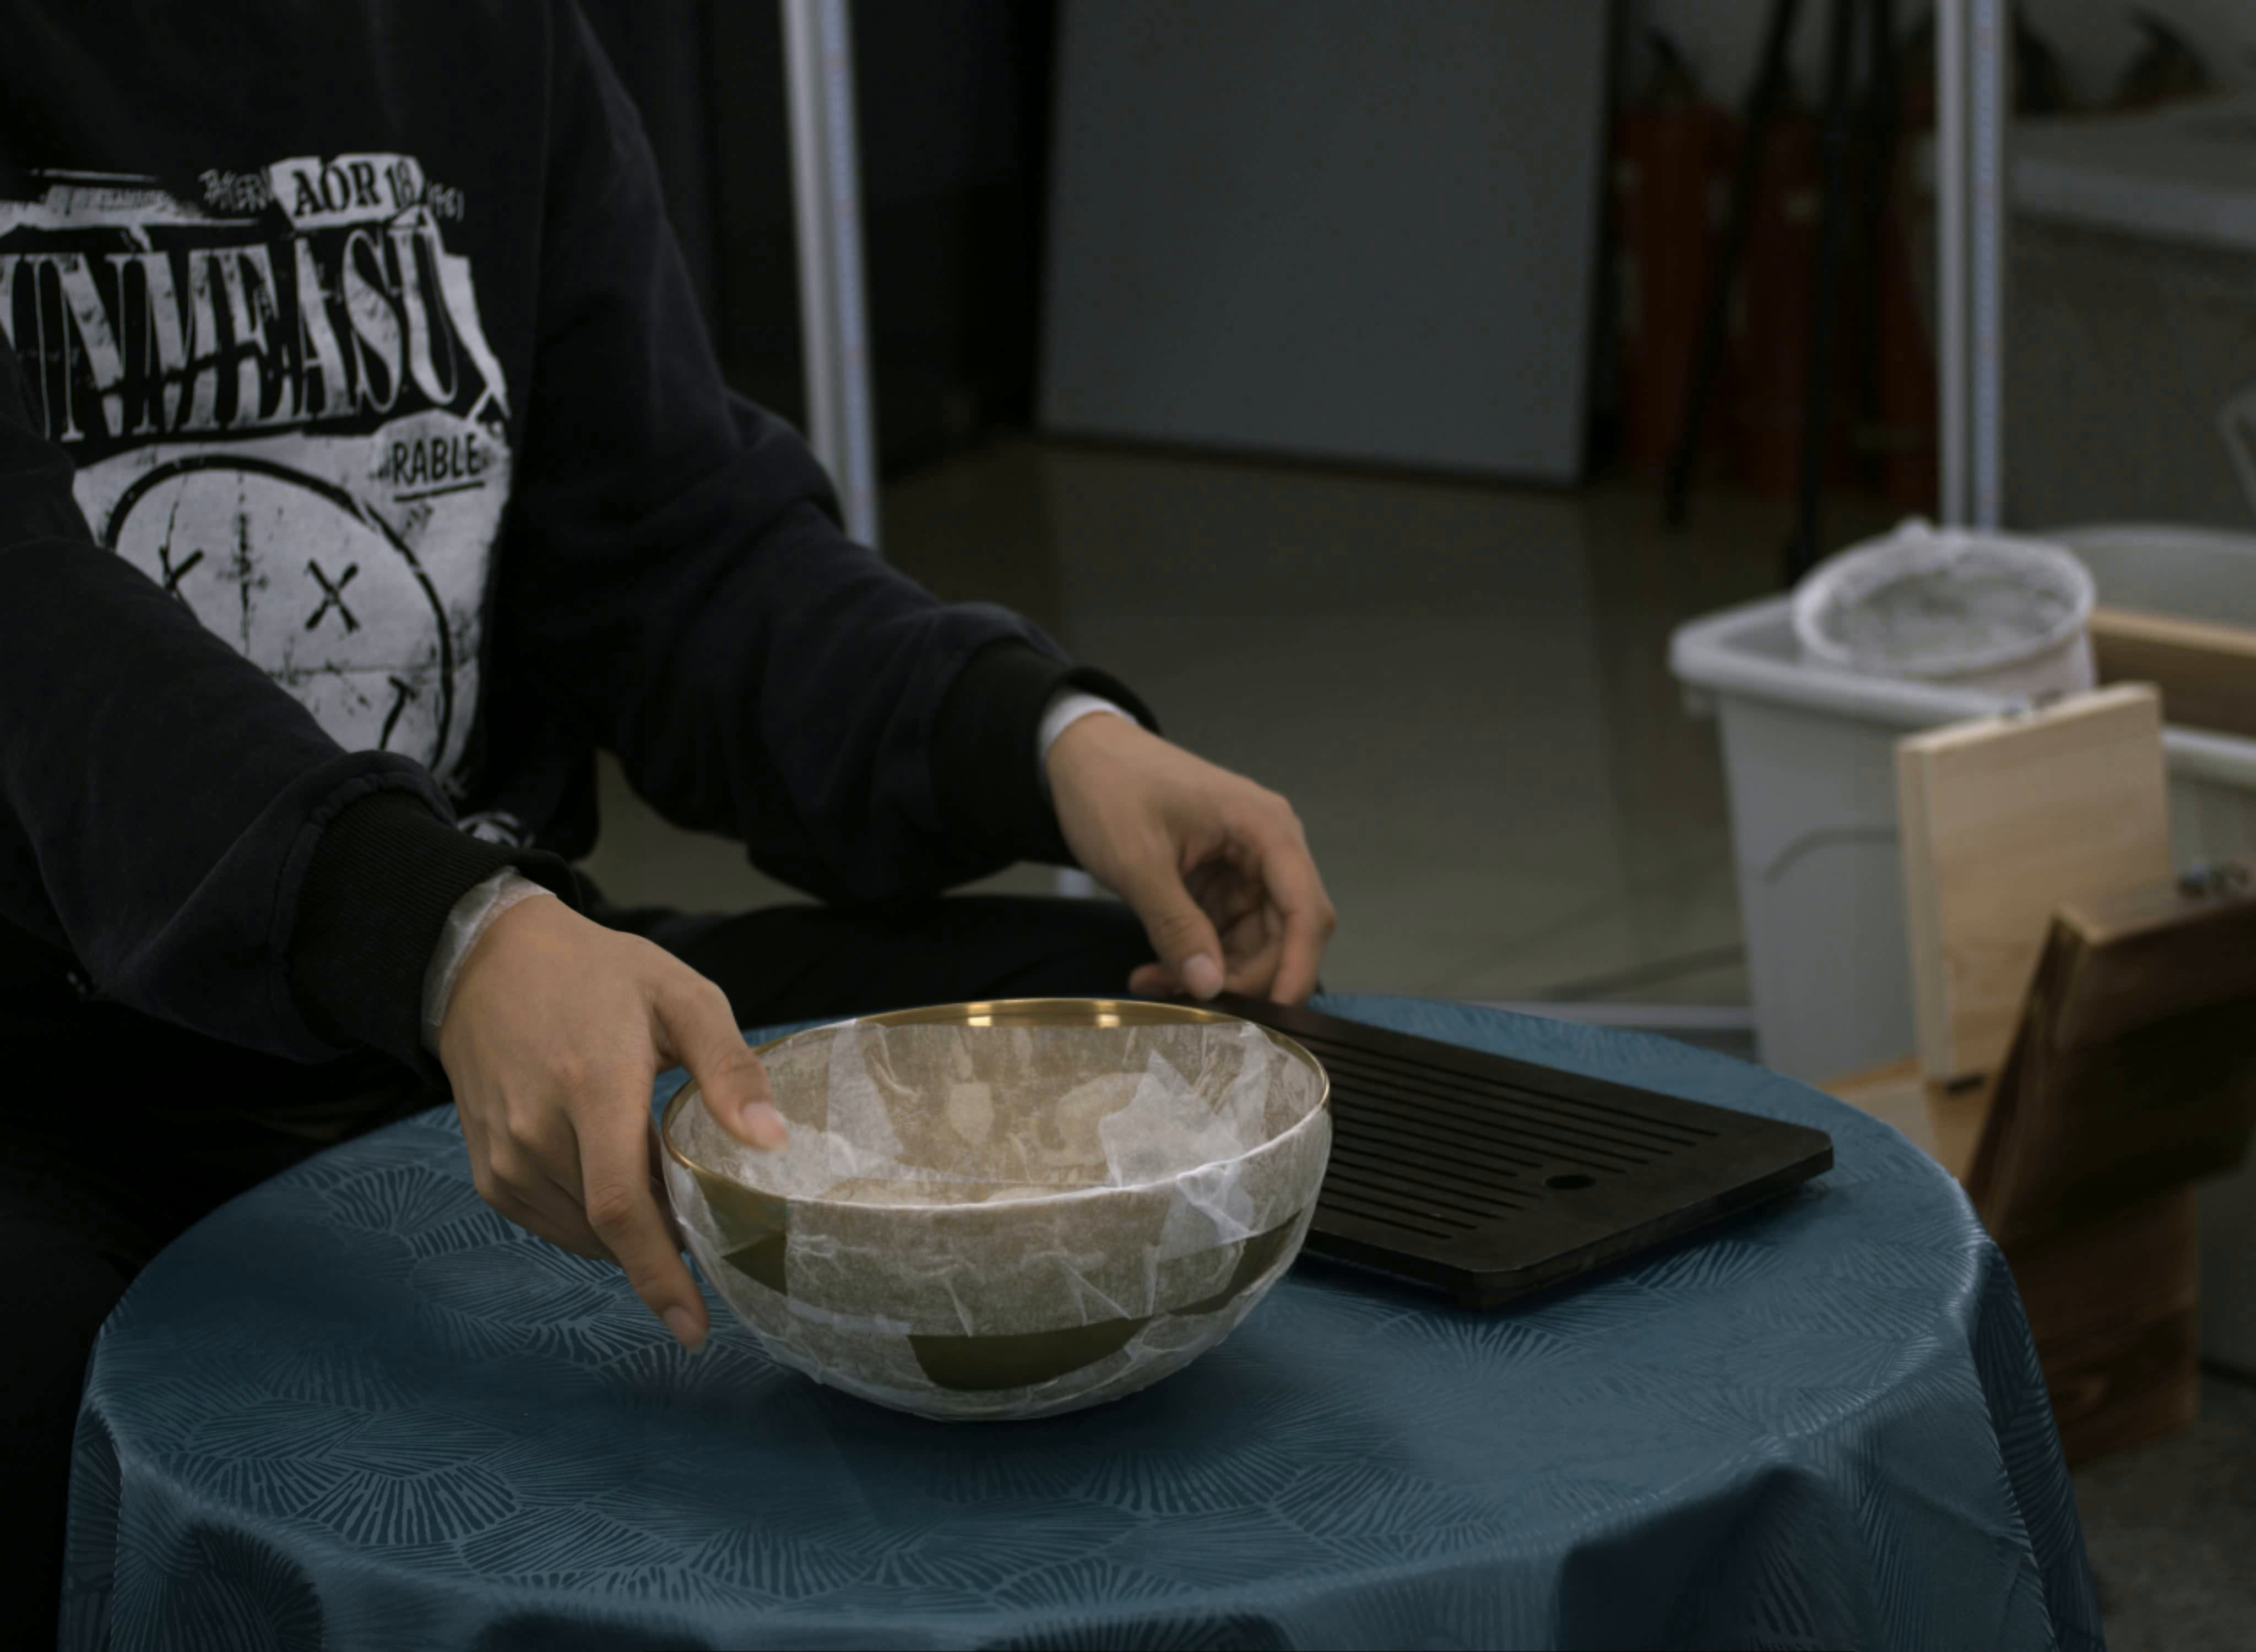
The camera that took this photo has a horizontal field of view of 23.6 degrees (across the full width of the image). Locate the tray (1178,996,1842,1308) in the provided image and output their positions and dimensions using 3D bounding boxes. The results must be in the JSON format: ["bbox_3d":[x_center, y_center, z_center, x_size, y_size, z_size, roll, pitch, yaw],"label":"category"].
[{"bbox_3d":[0.072,0.104,1.781,0.166,0.019,0.309,-16,18,-40],"label":"tray"}]

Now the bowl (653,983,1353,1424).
[{"bbox_3d":[-0.035,0.119,1.594,0.212,0.095,0.215,-5,15,0],"label":"bowl"}]
